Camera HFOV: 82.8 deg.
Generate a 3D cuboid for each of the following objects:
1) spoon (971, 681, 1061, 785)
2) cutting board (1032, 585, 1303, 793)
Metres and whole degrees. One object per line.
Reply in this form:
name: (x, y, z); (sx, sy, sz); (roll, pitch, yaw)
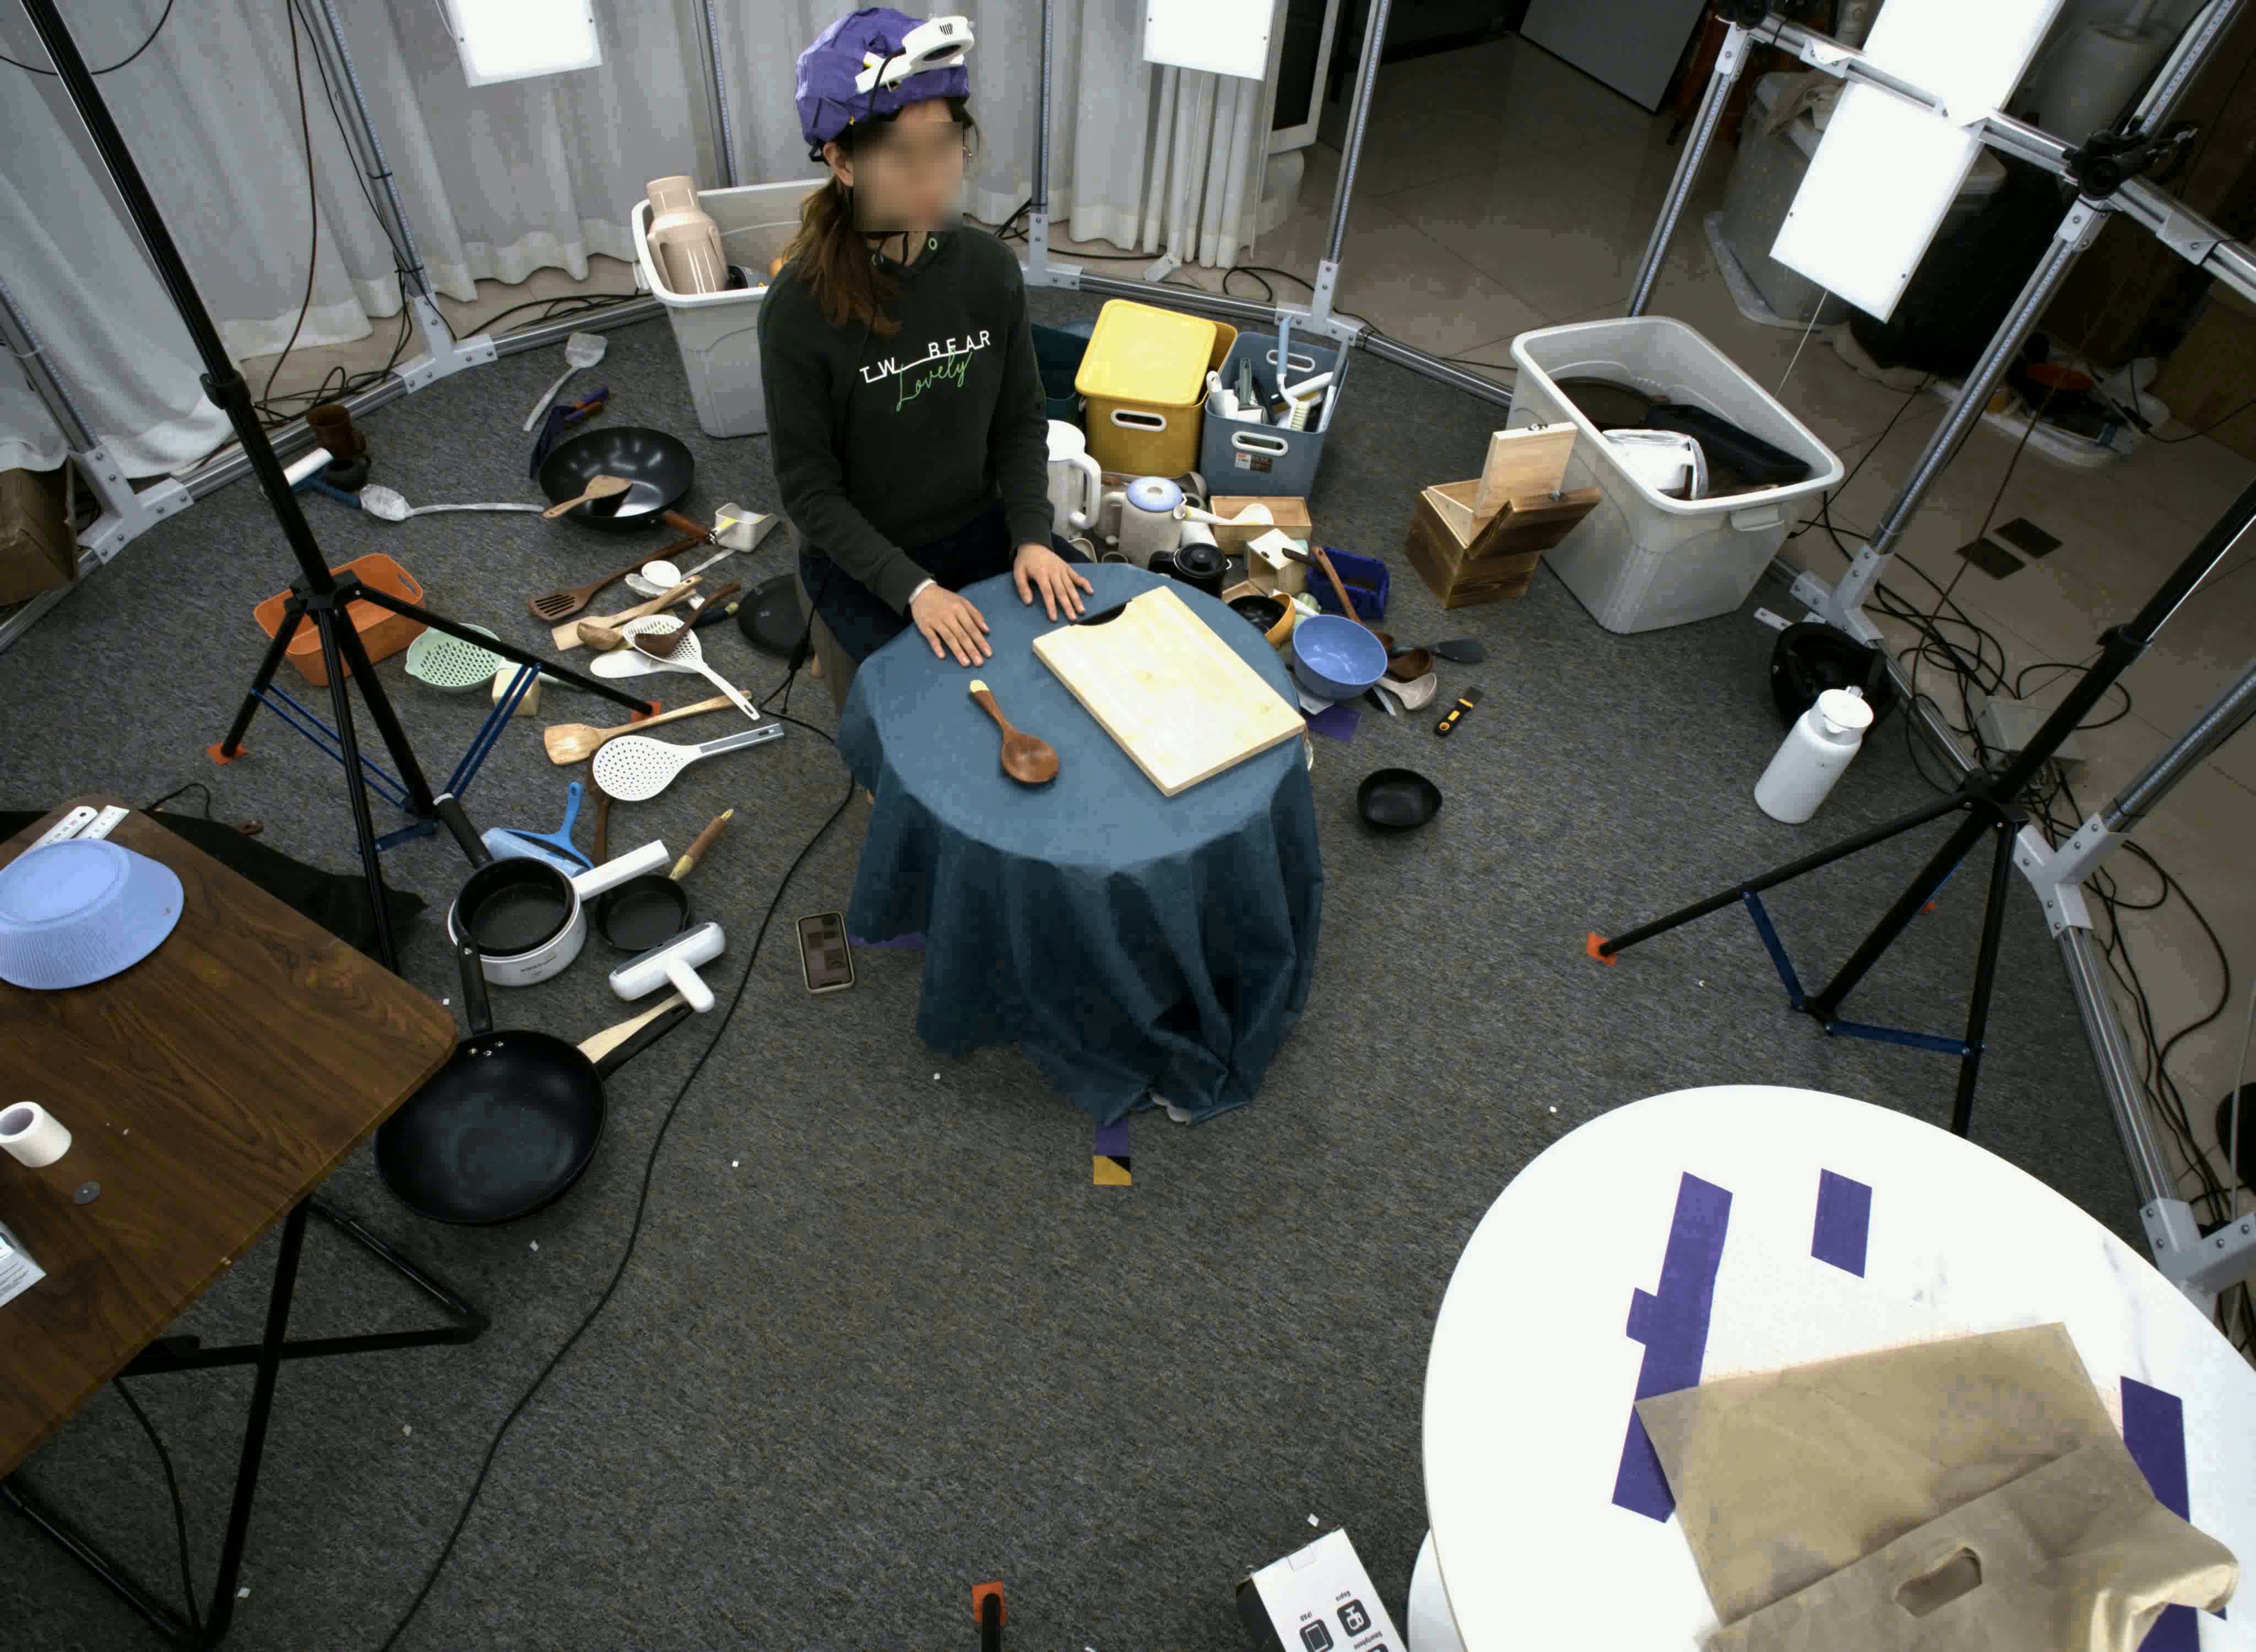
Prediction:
spoon: (-0.162, -0.130, 1.775); (0.076, 0.017, 0.220); (-22, 54, -20)
cutting board: (0.052, -0.207, 1.857); (0.252, 0.023, 0.355); (-26, 55, -25)
